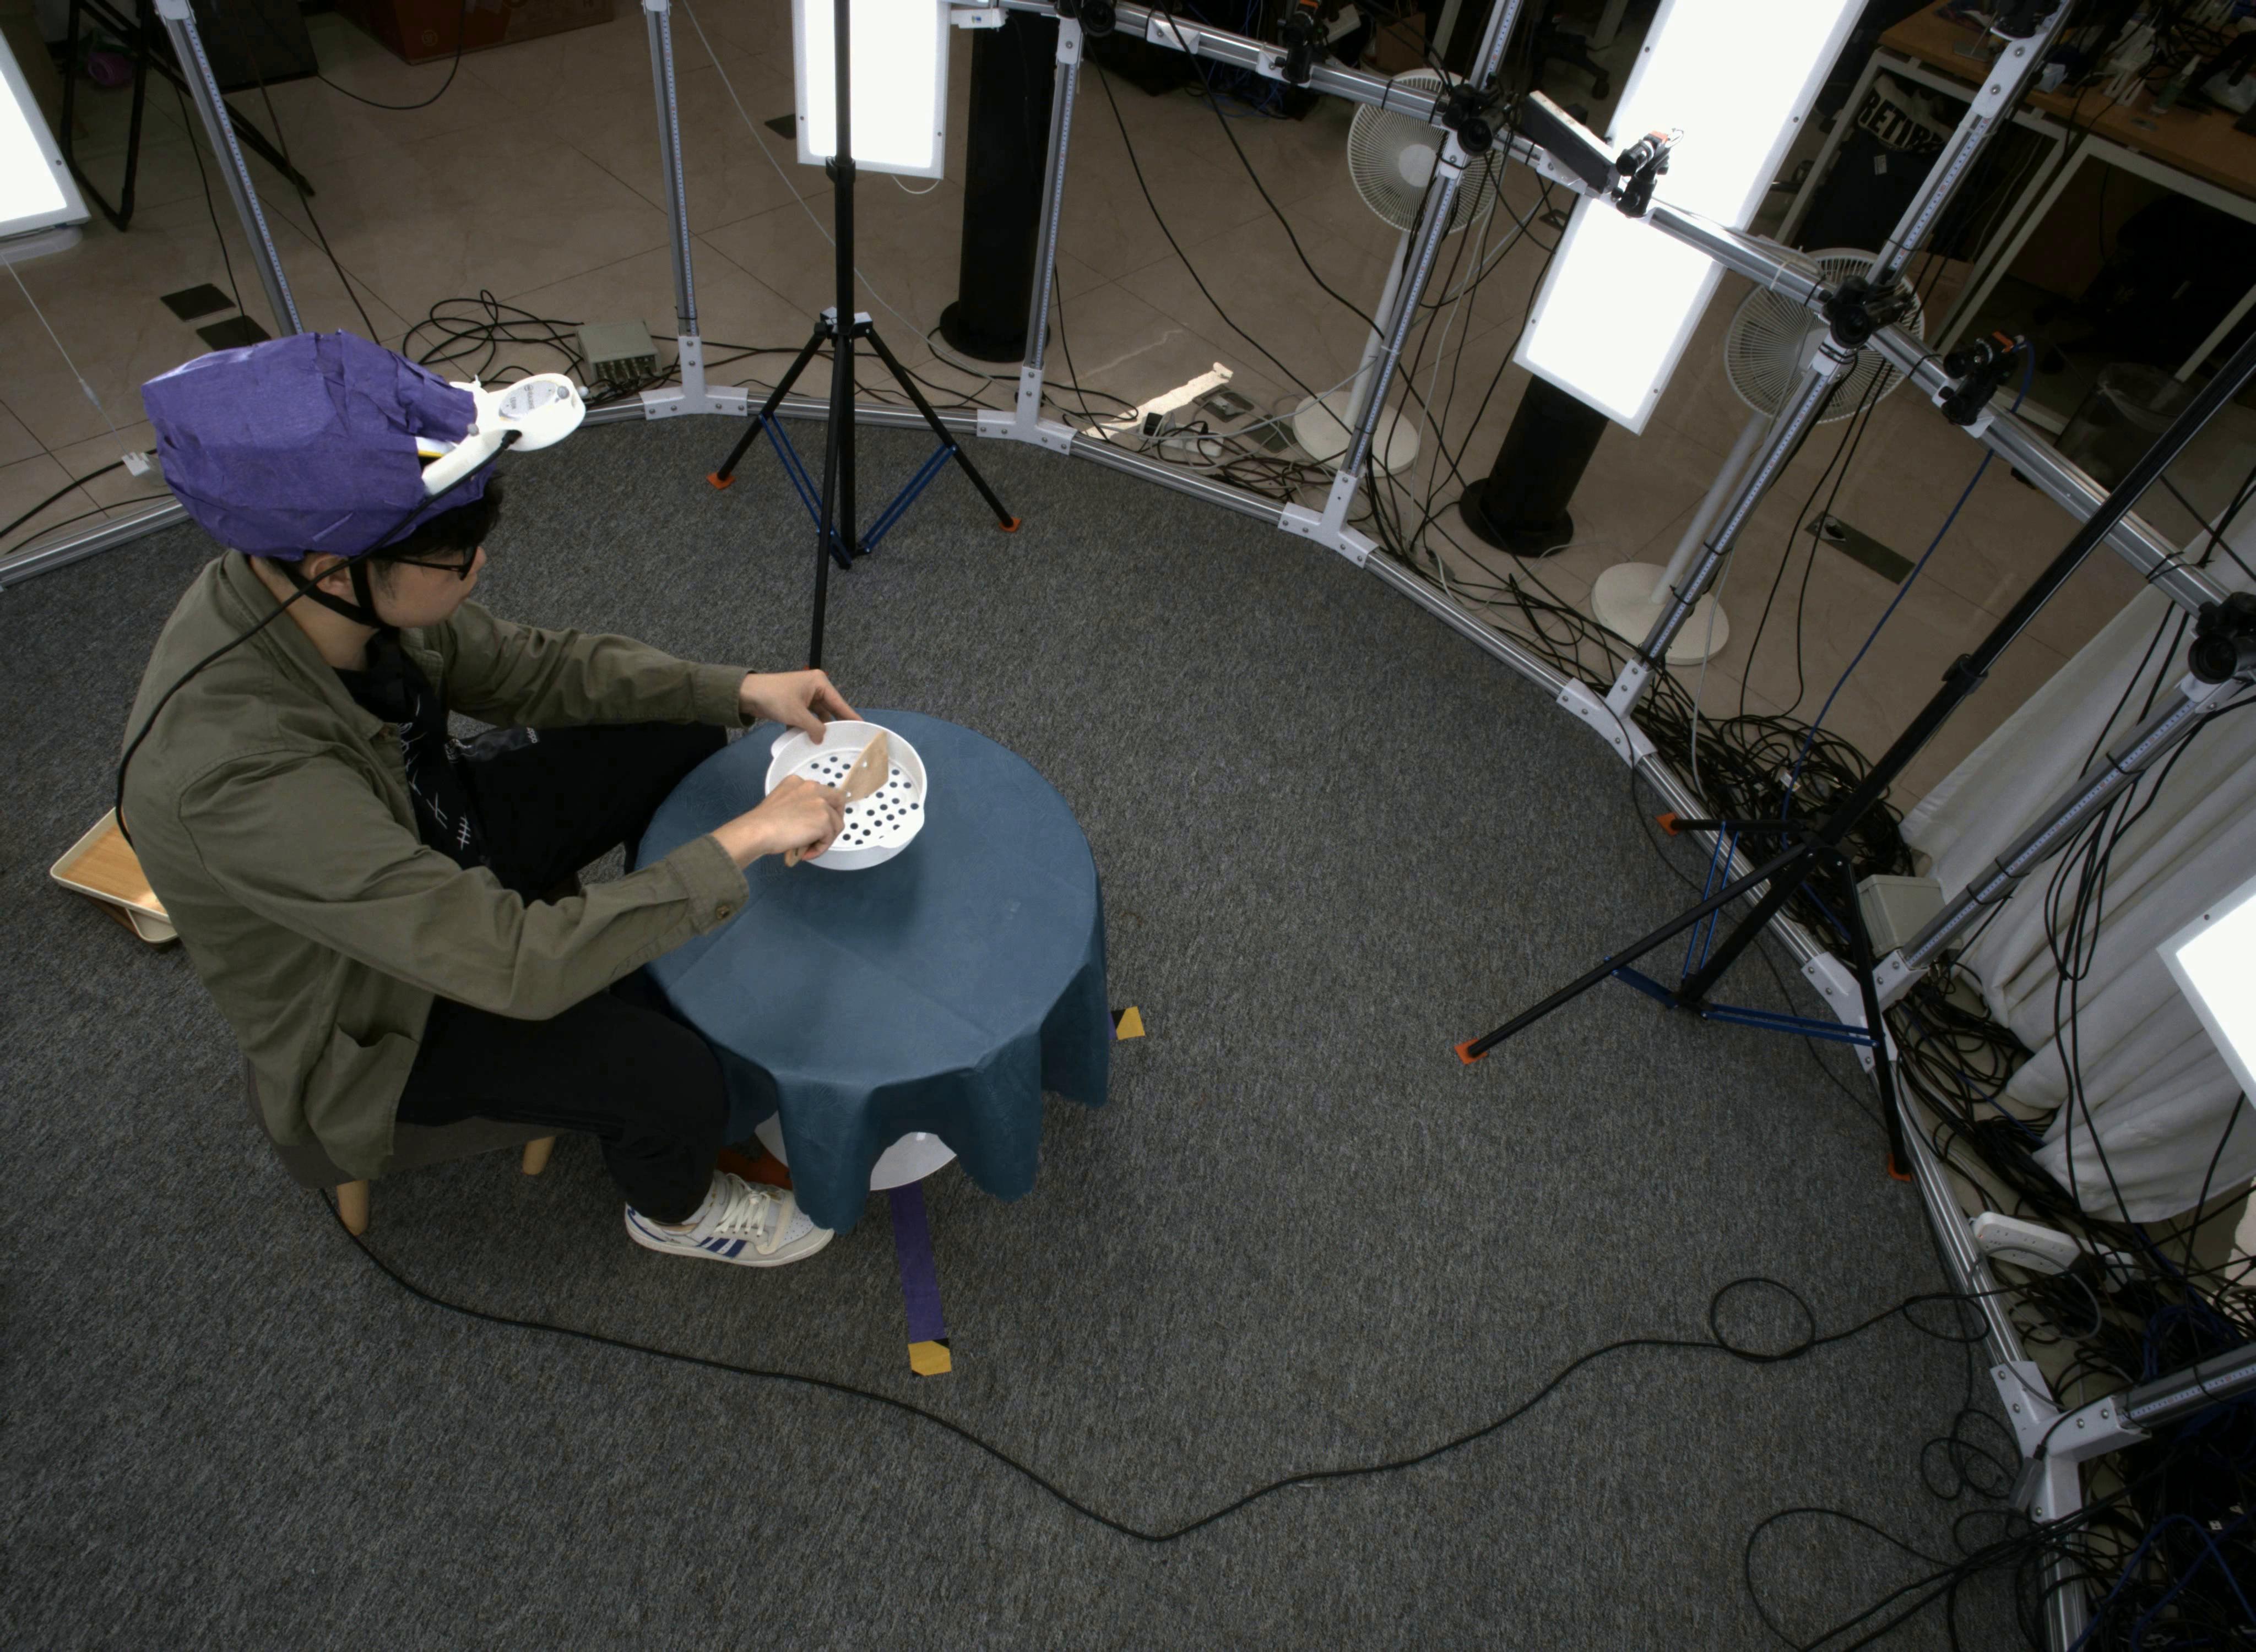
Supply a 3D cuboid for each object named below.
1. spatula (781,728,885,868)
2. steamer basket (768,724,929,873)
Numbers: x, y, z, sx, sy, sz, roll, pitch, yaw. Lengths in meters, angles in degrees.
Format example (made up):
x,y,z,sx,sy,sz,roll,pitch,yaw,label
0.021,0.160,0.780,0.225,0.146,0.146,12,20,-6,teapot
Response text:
x,y,z,sx,sy,sz,roll,pitch,yaw,label
-0.342,-0.030,1.527,0.016,0.082,0.323,10,25,4,spatula
-0.355,-0.034,1.661,0.225,0.071,0.202,37,59,16,steamer basket
